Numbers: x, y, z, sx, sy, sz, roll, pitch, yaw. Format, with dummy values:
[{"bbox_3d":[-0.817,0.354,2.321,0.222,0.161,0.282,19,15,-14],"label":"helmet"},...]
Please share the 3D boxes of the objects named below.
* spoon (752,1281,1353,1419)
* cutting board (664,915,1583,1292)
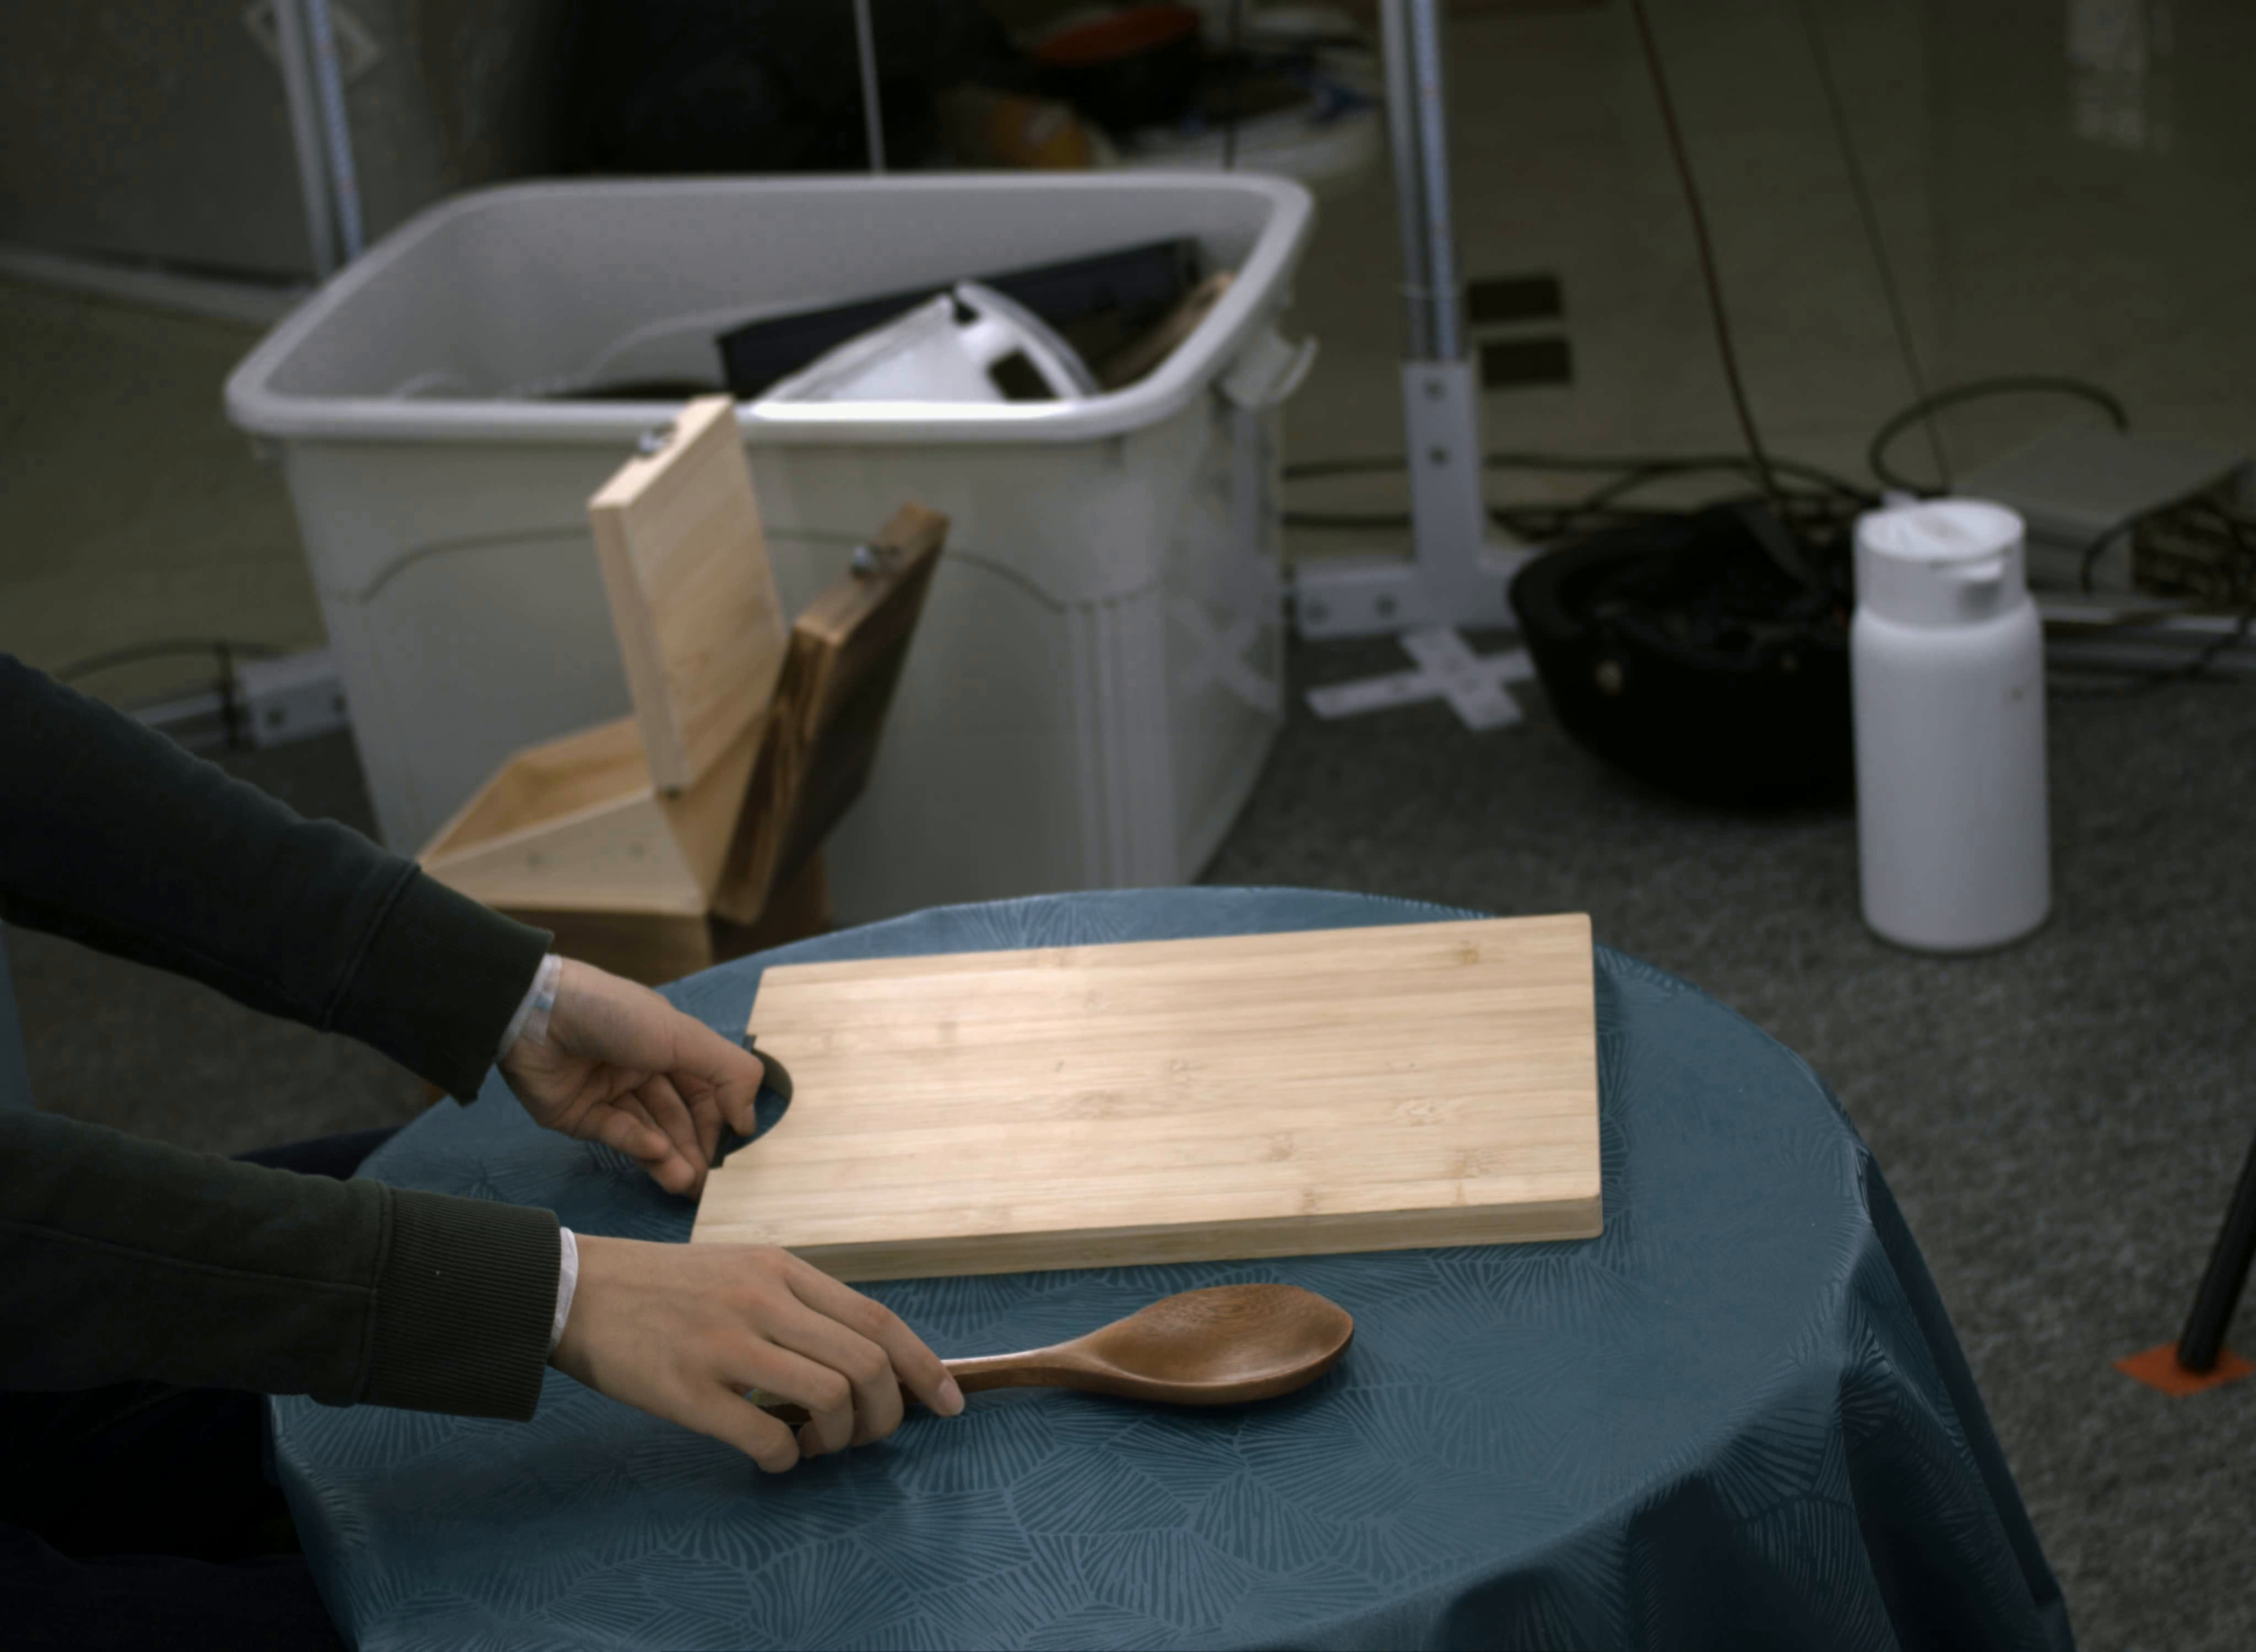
[{"bbox_3d":[-0.027,0.193,2.023,0.215,0.017,0.074,-5,26,1],"label":"spoon"},{"bbox_3d":[0.006,0.106,2.203,0.348,0.024,0.247,-4,24,5],"label":"cutting board"}]
